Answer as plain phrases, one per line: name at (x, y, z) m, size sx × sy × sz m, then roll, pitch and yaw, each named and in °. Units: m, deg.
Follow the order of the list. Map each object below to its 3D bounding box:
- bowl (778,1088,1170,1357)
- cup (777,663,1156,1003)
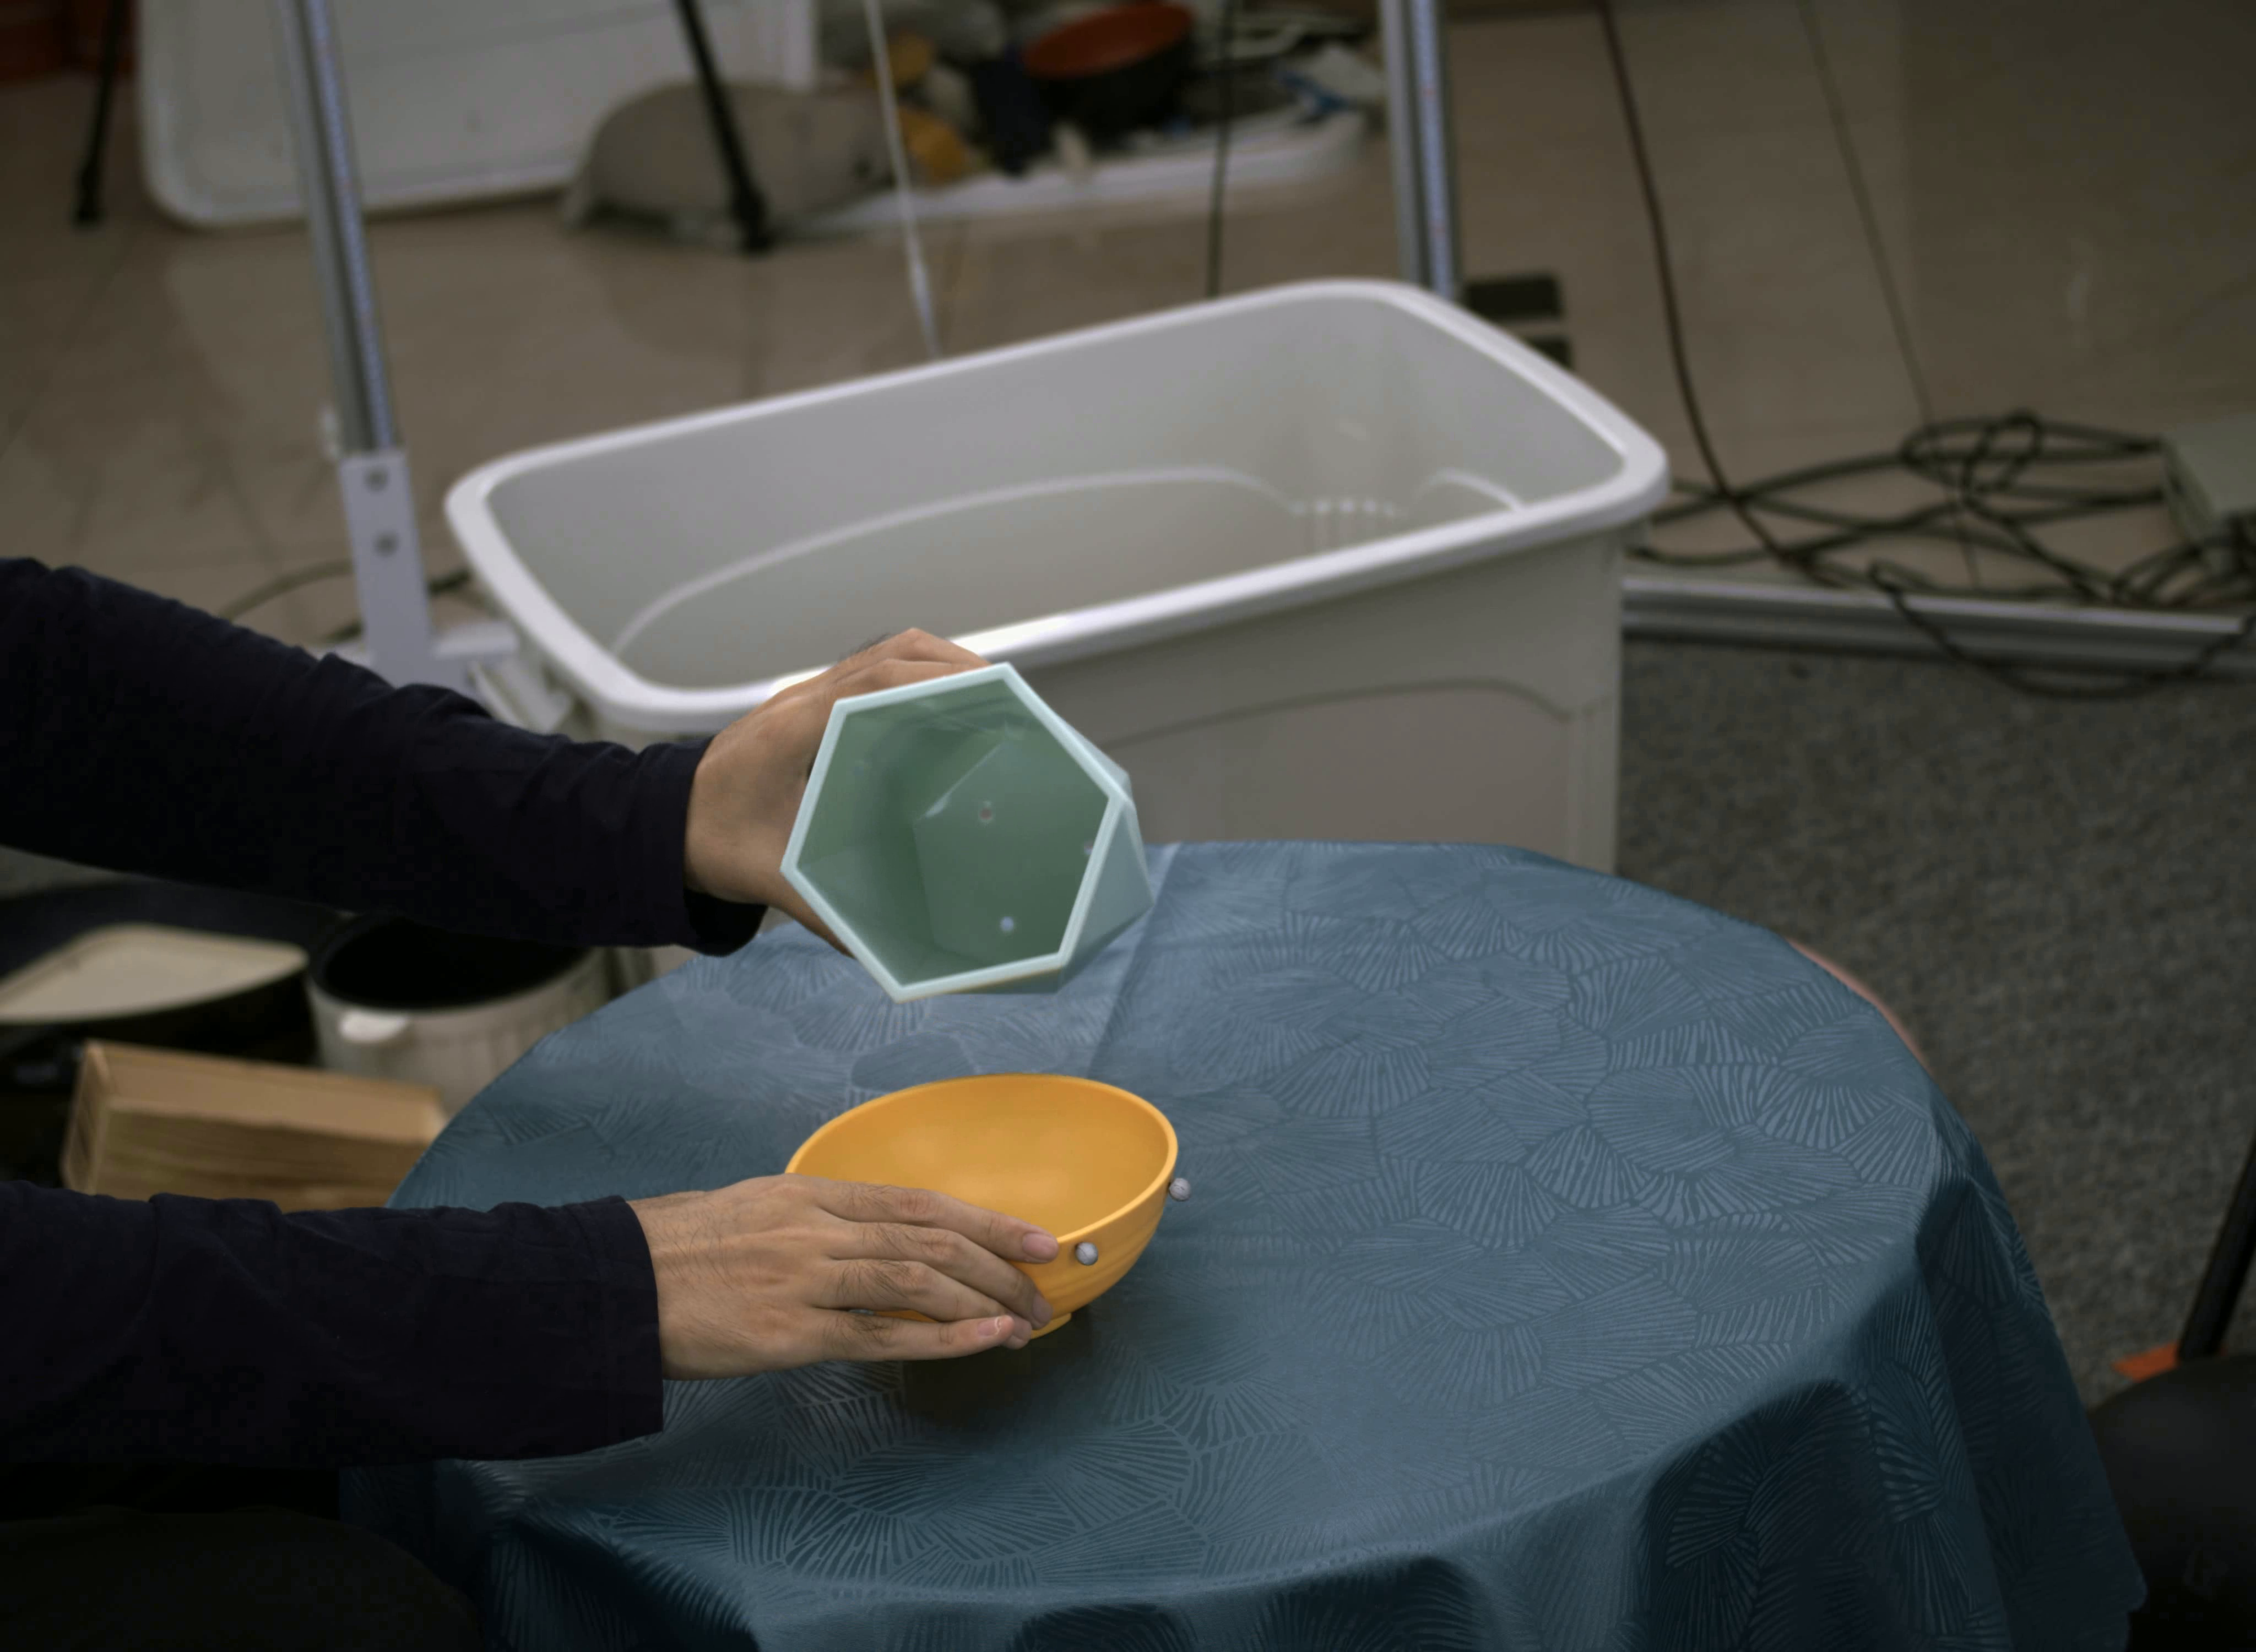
bowl at (-0.052, 0.152, 2.069) m, size 0.145 × 0.061 × 0.143 m, roll -8°, pitch 23°, yaw 4°
cup at (-0.051, 0.008, 2.145) m, size 0.115 × 0.131 × 0.163 m, roll 17°, pitch 0°, yaw 11°
